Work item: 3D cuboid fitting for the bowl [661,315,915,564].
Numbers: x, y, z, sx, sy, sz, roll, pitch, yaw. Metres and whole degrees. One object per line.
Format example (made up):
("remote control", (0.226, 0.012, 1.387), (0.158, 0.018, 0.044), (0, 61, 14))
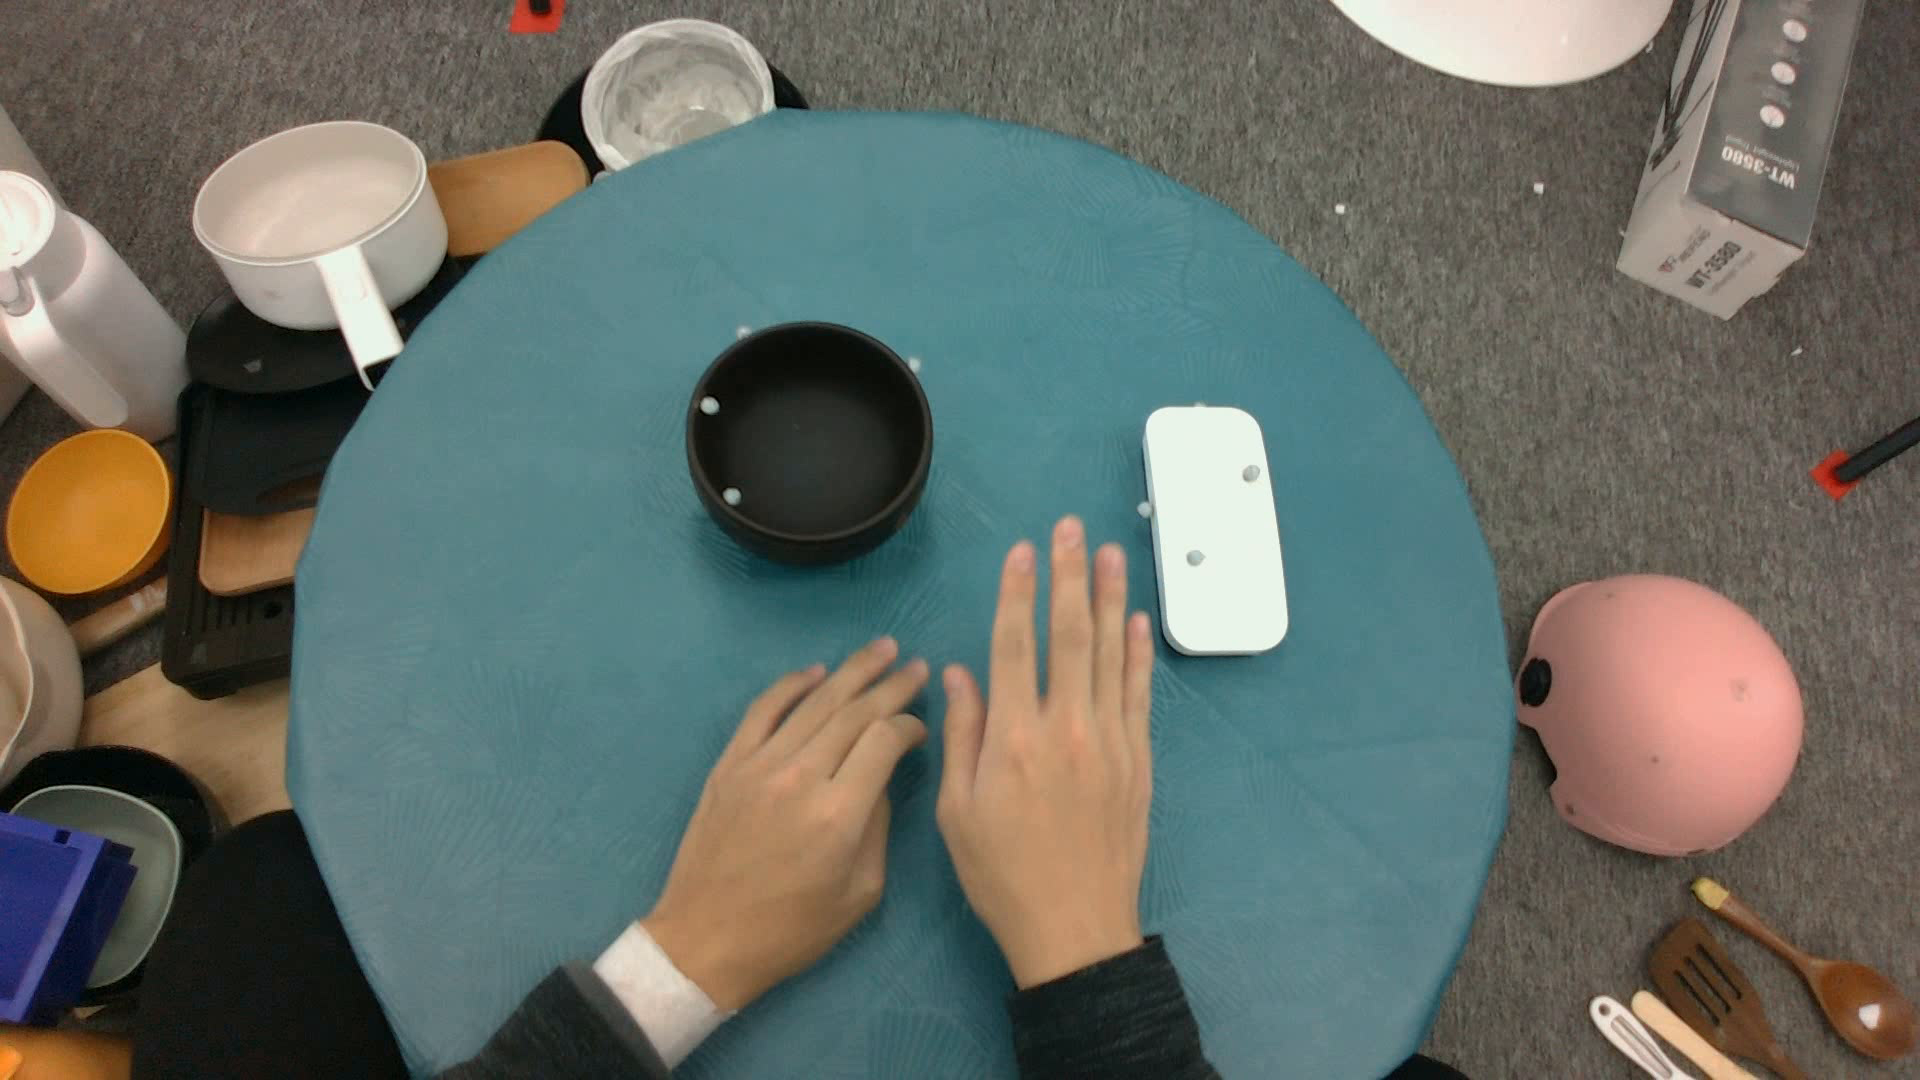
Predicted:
("bowl", (-0.085, -0.043, 0.666), (0.118, 0.069, 0.118), (5, 70, -13))

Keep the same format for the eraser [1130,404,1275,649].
("eraser", (0.120, -0.008, 0.702), (0.063, 0.034, 0.132), (-1, 67, -6))
